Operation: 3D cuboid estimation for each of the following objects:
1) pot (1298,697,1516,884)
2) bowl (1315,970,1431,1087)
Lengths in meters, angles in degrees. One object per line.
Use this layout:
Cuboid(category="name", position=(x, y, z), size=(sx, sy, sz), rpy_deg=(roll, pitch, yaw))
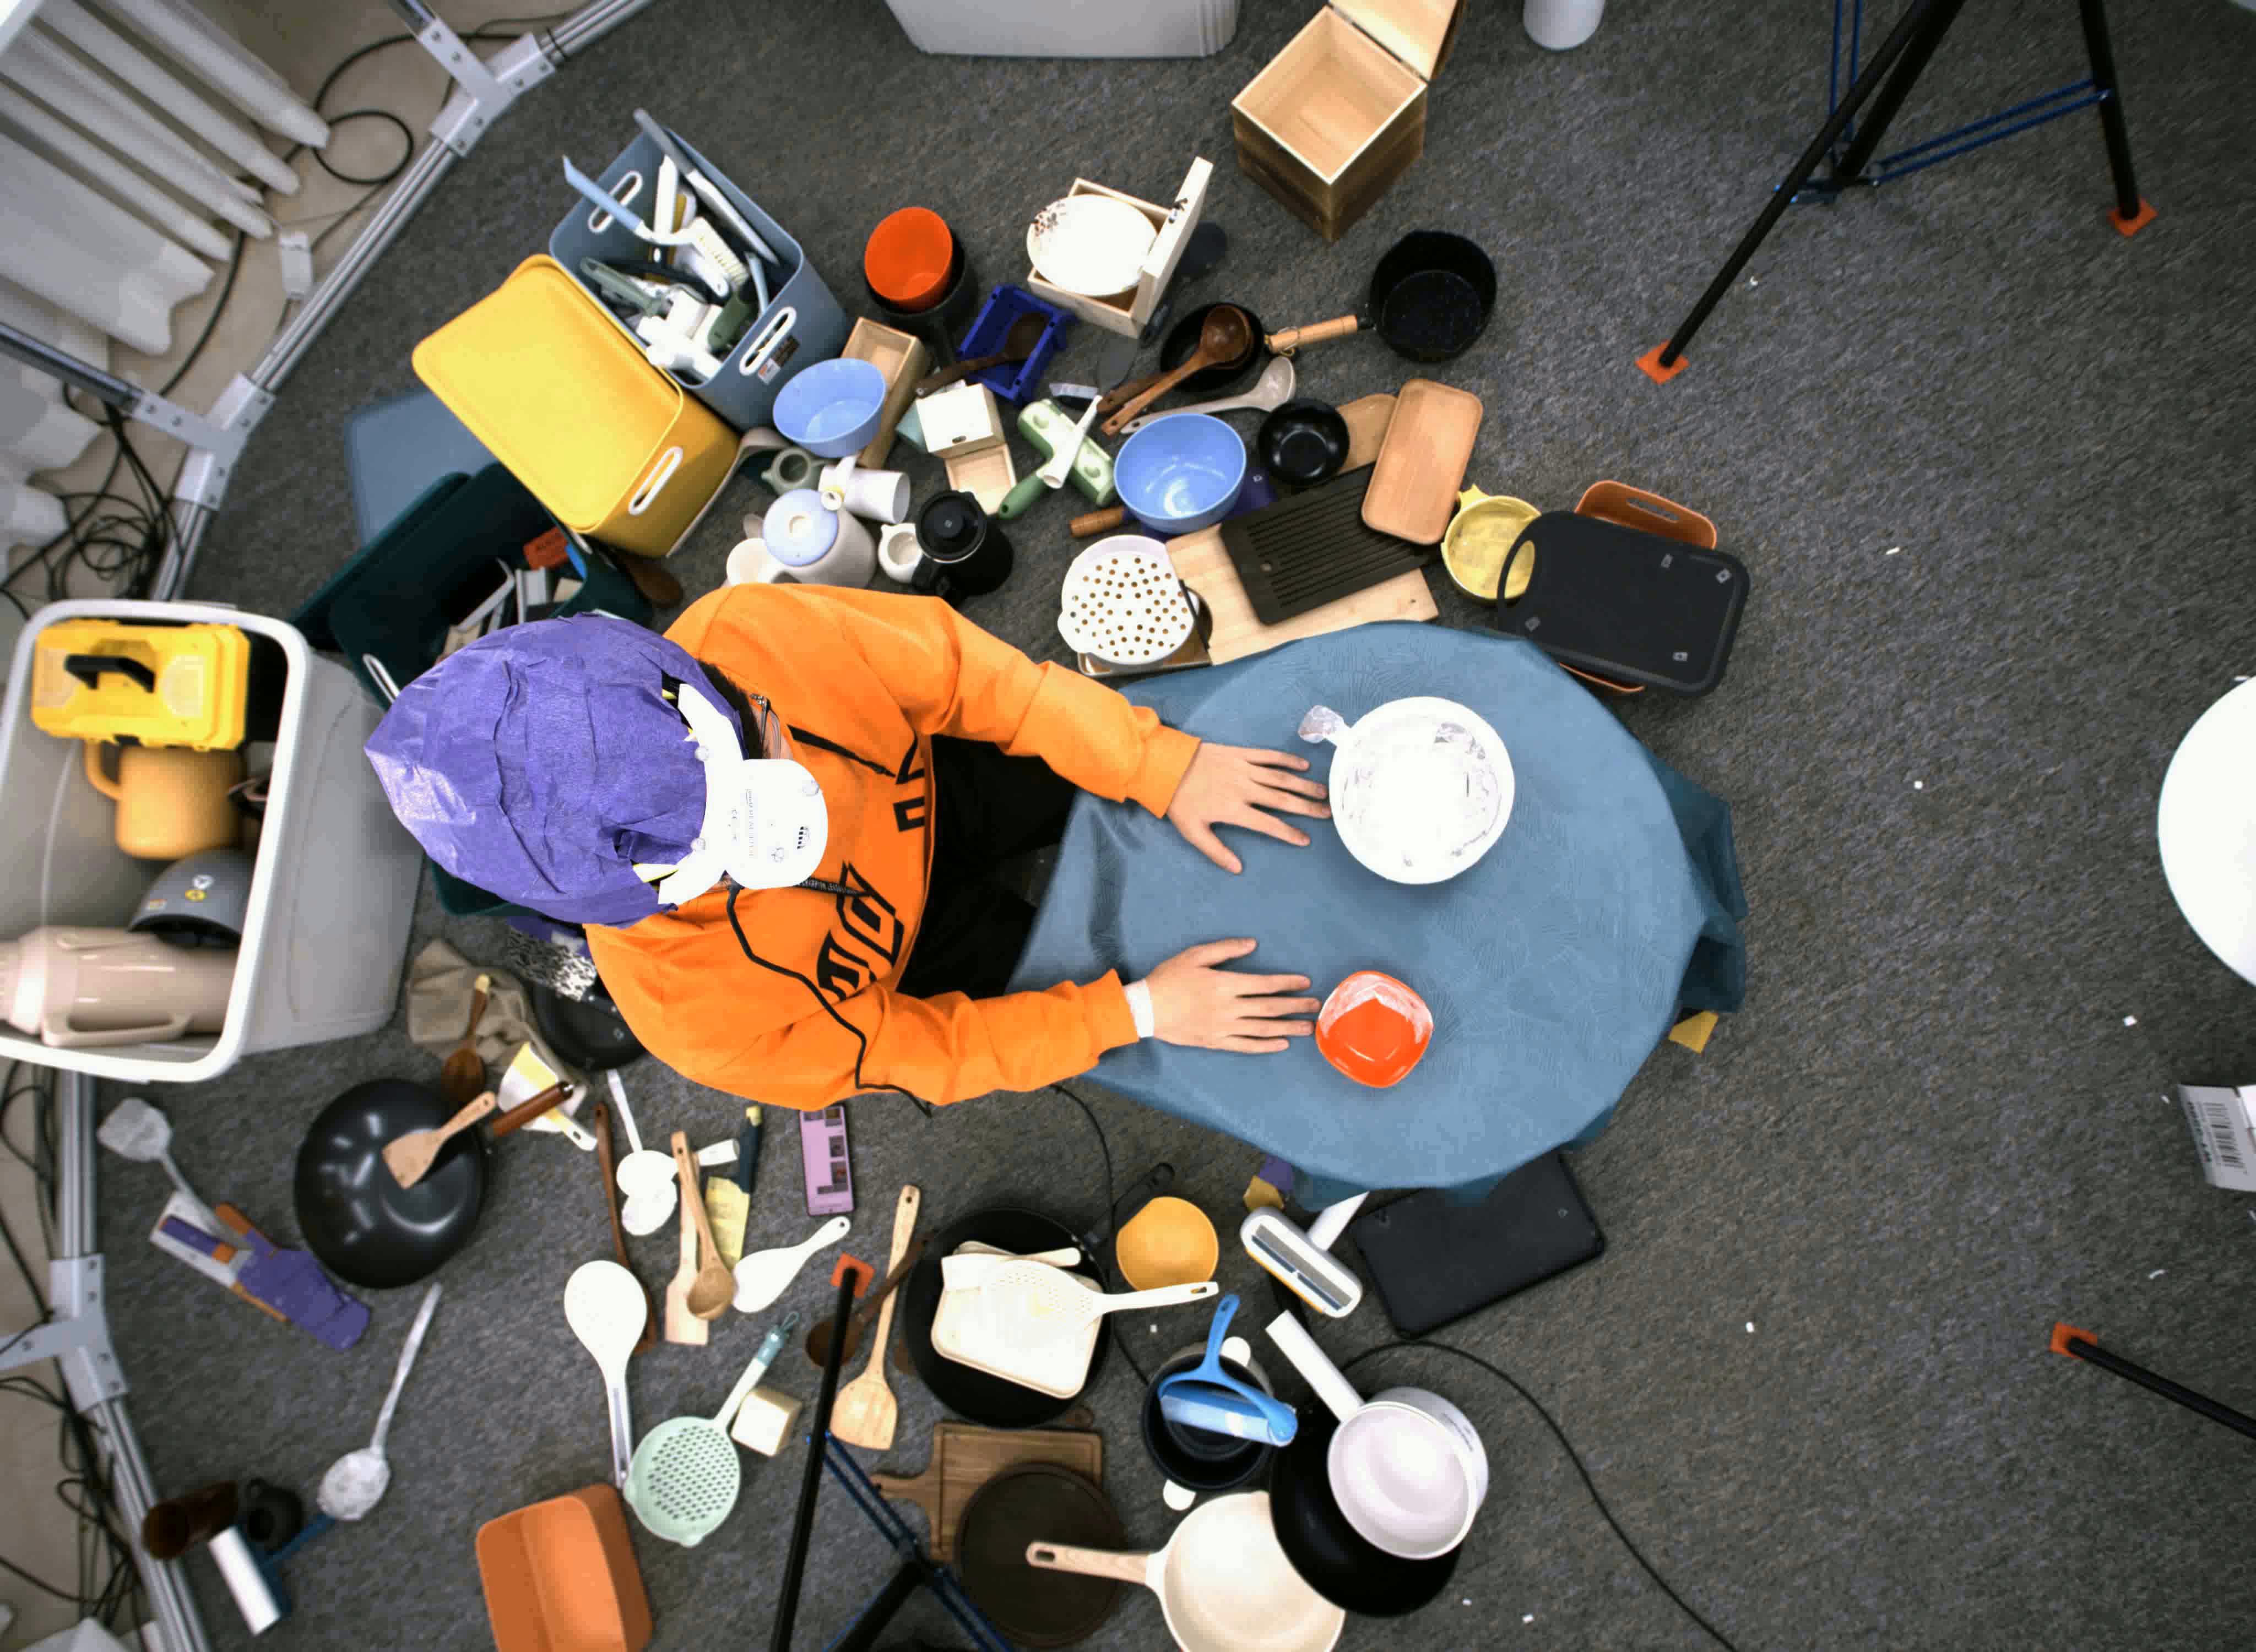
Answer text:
Cuboid(category="pot", position=(0.271, -0.049, 1.397), size=(0.233, 0.137, 0.179), rpy_deg=(35, 92, 10))
Cuboid(category="bowl", position=(0.253, 0.206, 1.430), size=(0.119, 0.051, 0.118), rpy_deg=(-1, 87, 10))
